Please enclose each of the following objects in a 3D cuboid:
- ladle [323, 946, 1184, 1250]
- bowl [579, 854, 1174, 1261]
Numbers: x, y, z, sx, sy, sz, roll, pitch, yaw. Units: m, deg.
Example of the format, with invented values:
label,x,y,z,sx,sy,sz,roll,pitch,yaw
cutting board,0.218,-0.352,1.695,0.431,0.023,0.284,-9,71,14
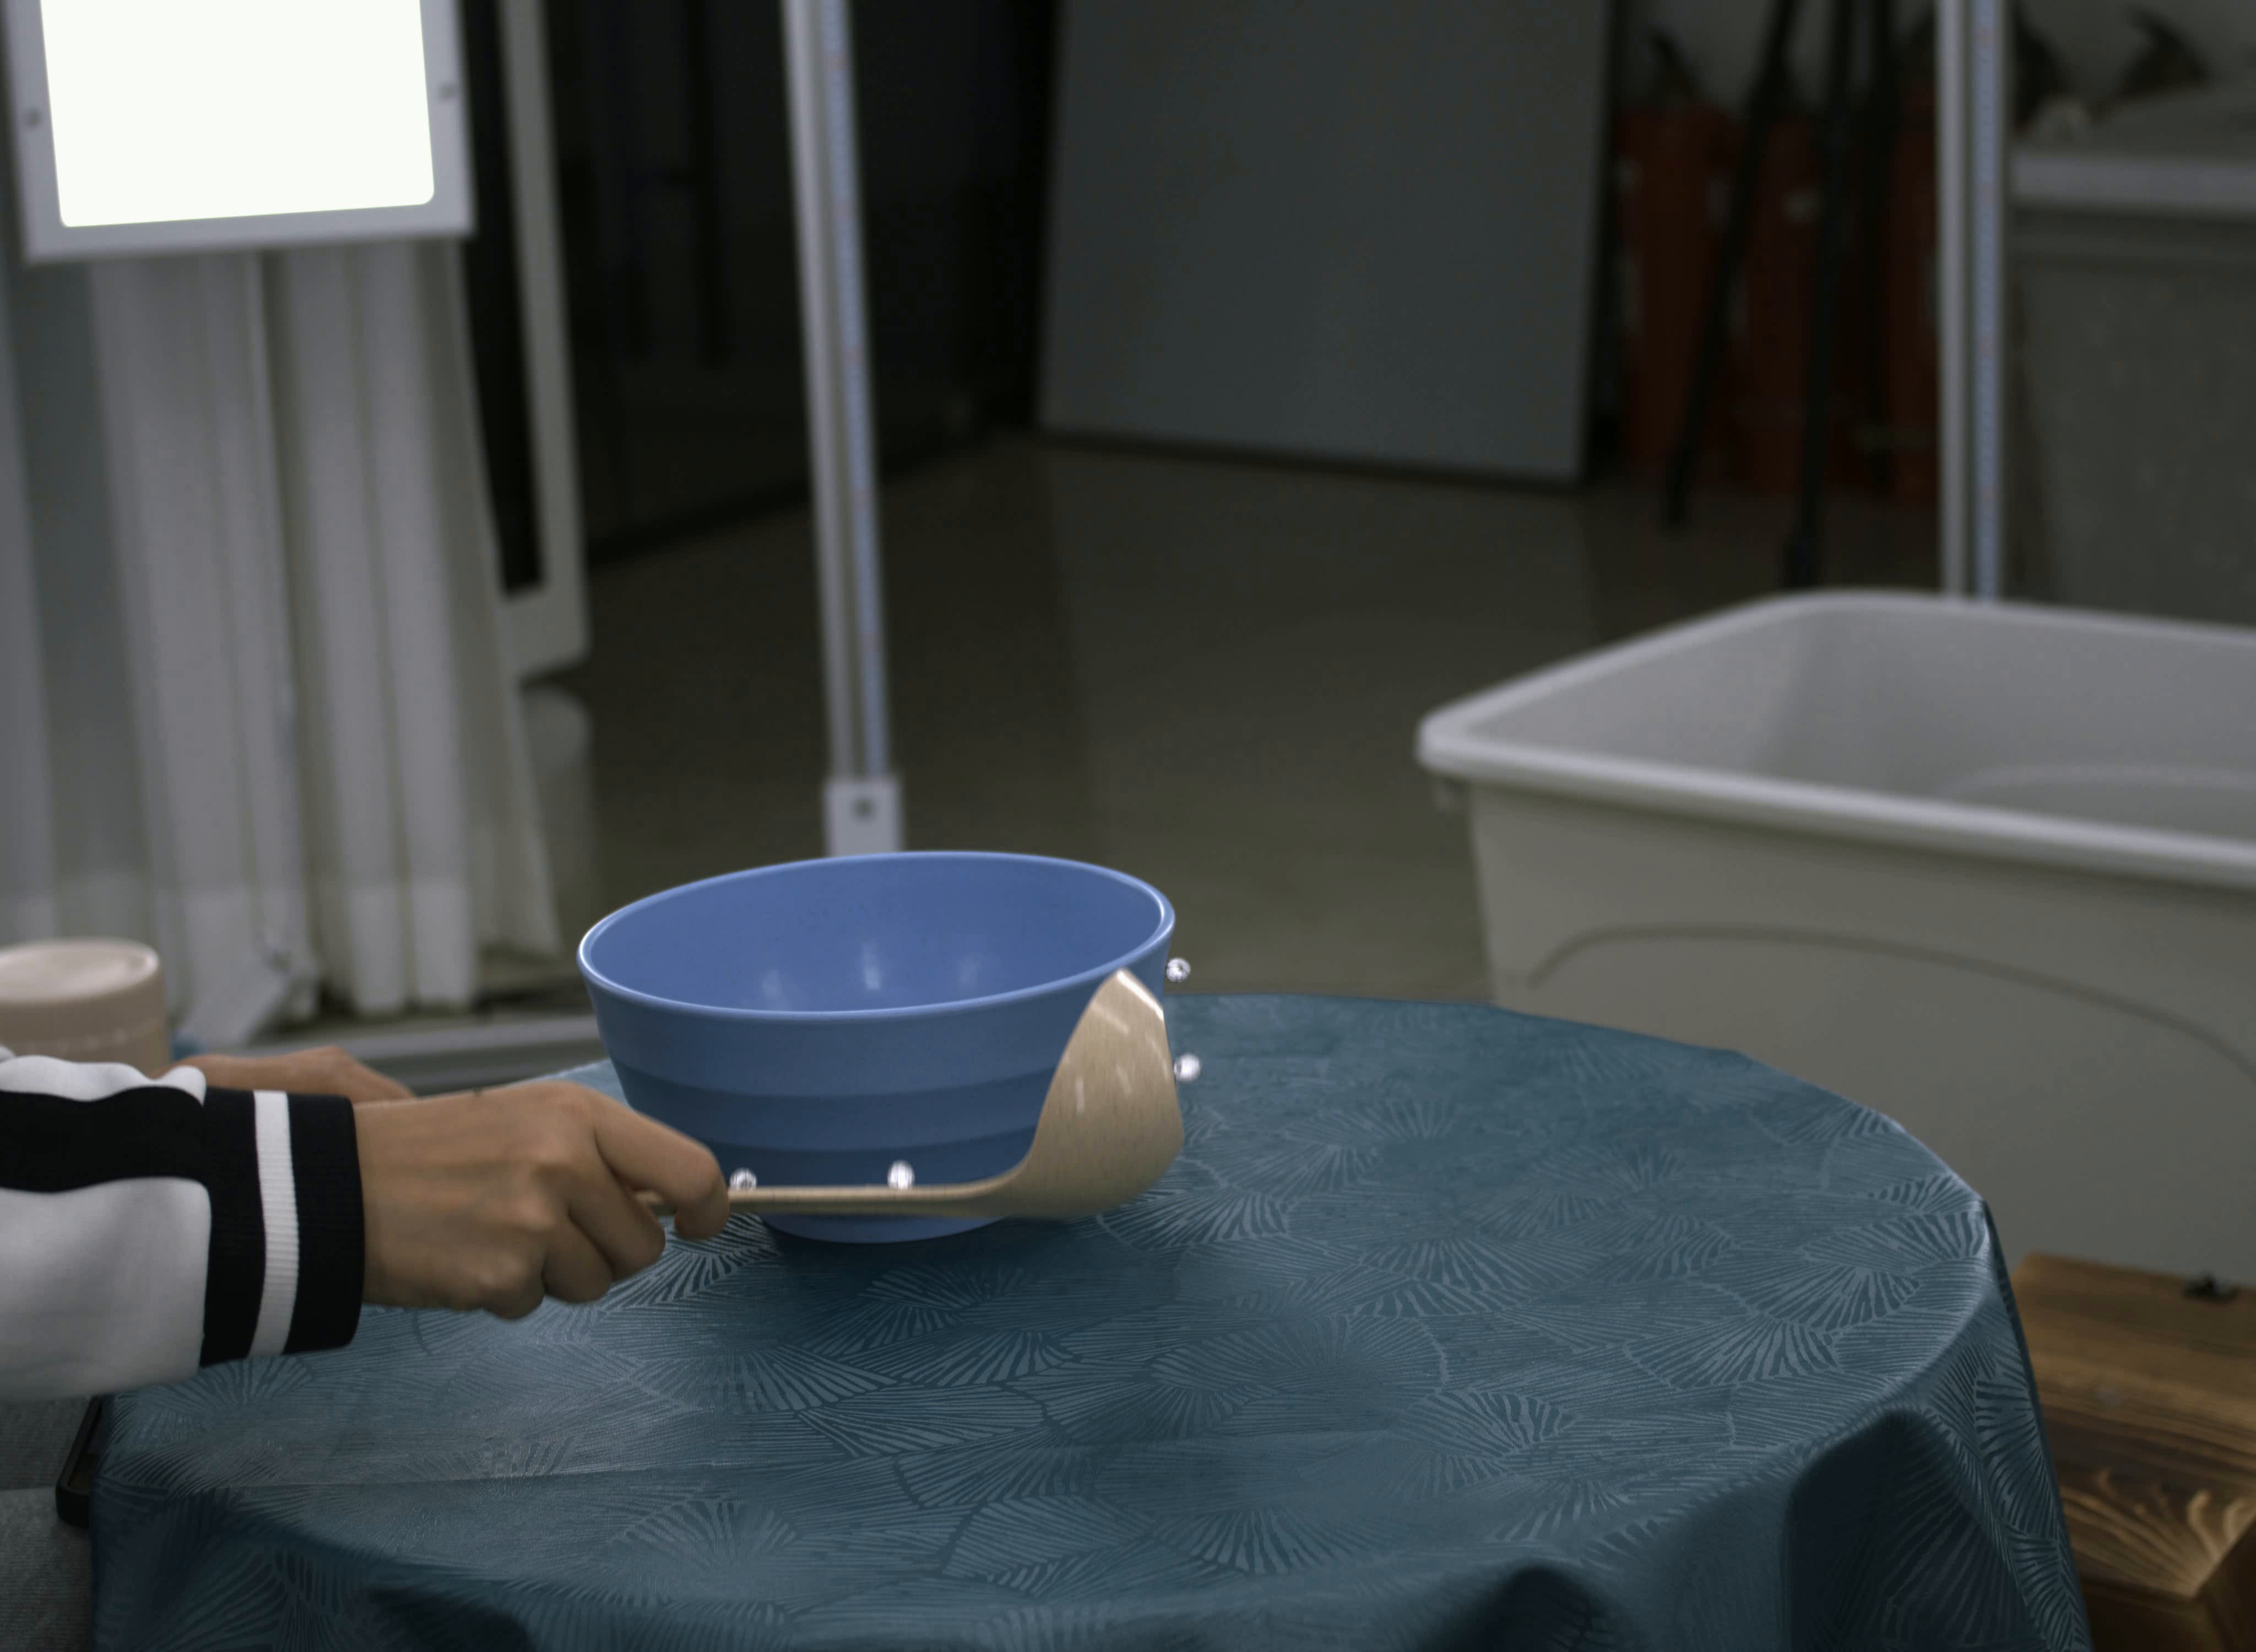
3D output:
label,x,y,z,sx,sy,sz,roll,pitch,yaw
ladle,-0.109,0.080,1.578,0.251,0.073,0.072,-4,-28,4
bowl,-0.079,0.082,1.768,0.194,0.096,0.197,-4,15,0
